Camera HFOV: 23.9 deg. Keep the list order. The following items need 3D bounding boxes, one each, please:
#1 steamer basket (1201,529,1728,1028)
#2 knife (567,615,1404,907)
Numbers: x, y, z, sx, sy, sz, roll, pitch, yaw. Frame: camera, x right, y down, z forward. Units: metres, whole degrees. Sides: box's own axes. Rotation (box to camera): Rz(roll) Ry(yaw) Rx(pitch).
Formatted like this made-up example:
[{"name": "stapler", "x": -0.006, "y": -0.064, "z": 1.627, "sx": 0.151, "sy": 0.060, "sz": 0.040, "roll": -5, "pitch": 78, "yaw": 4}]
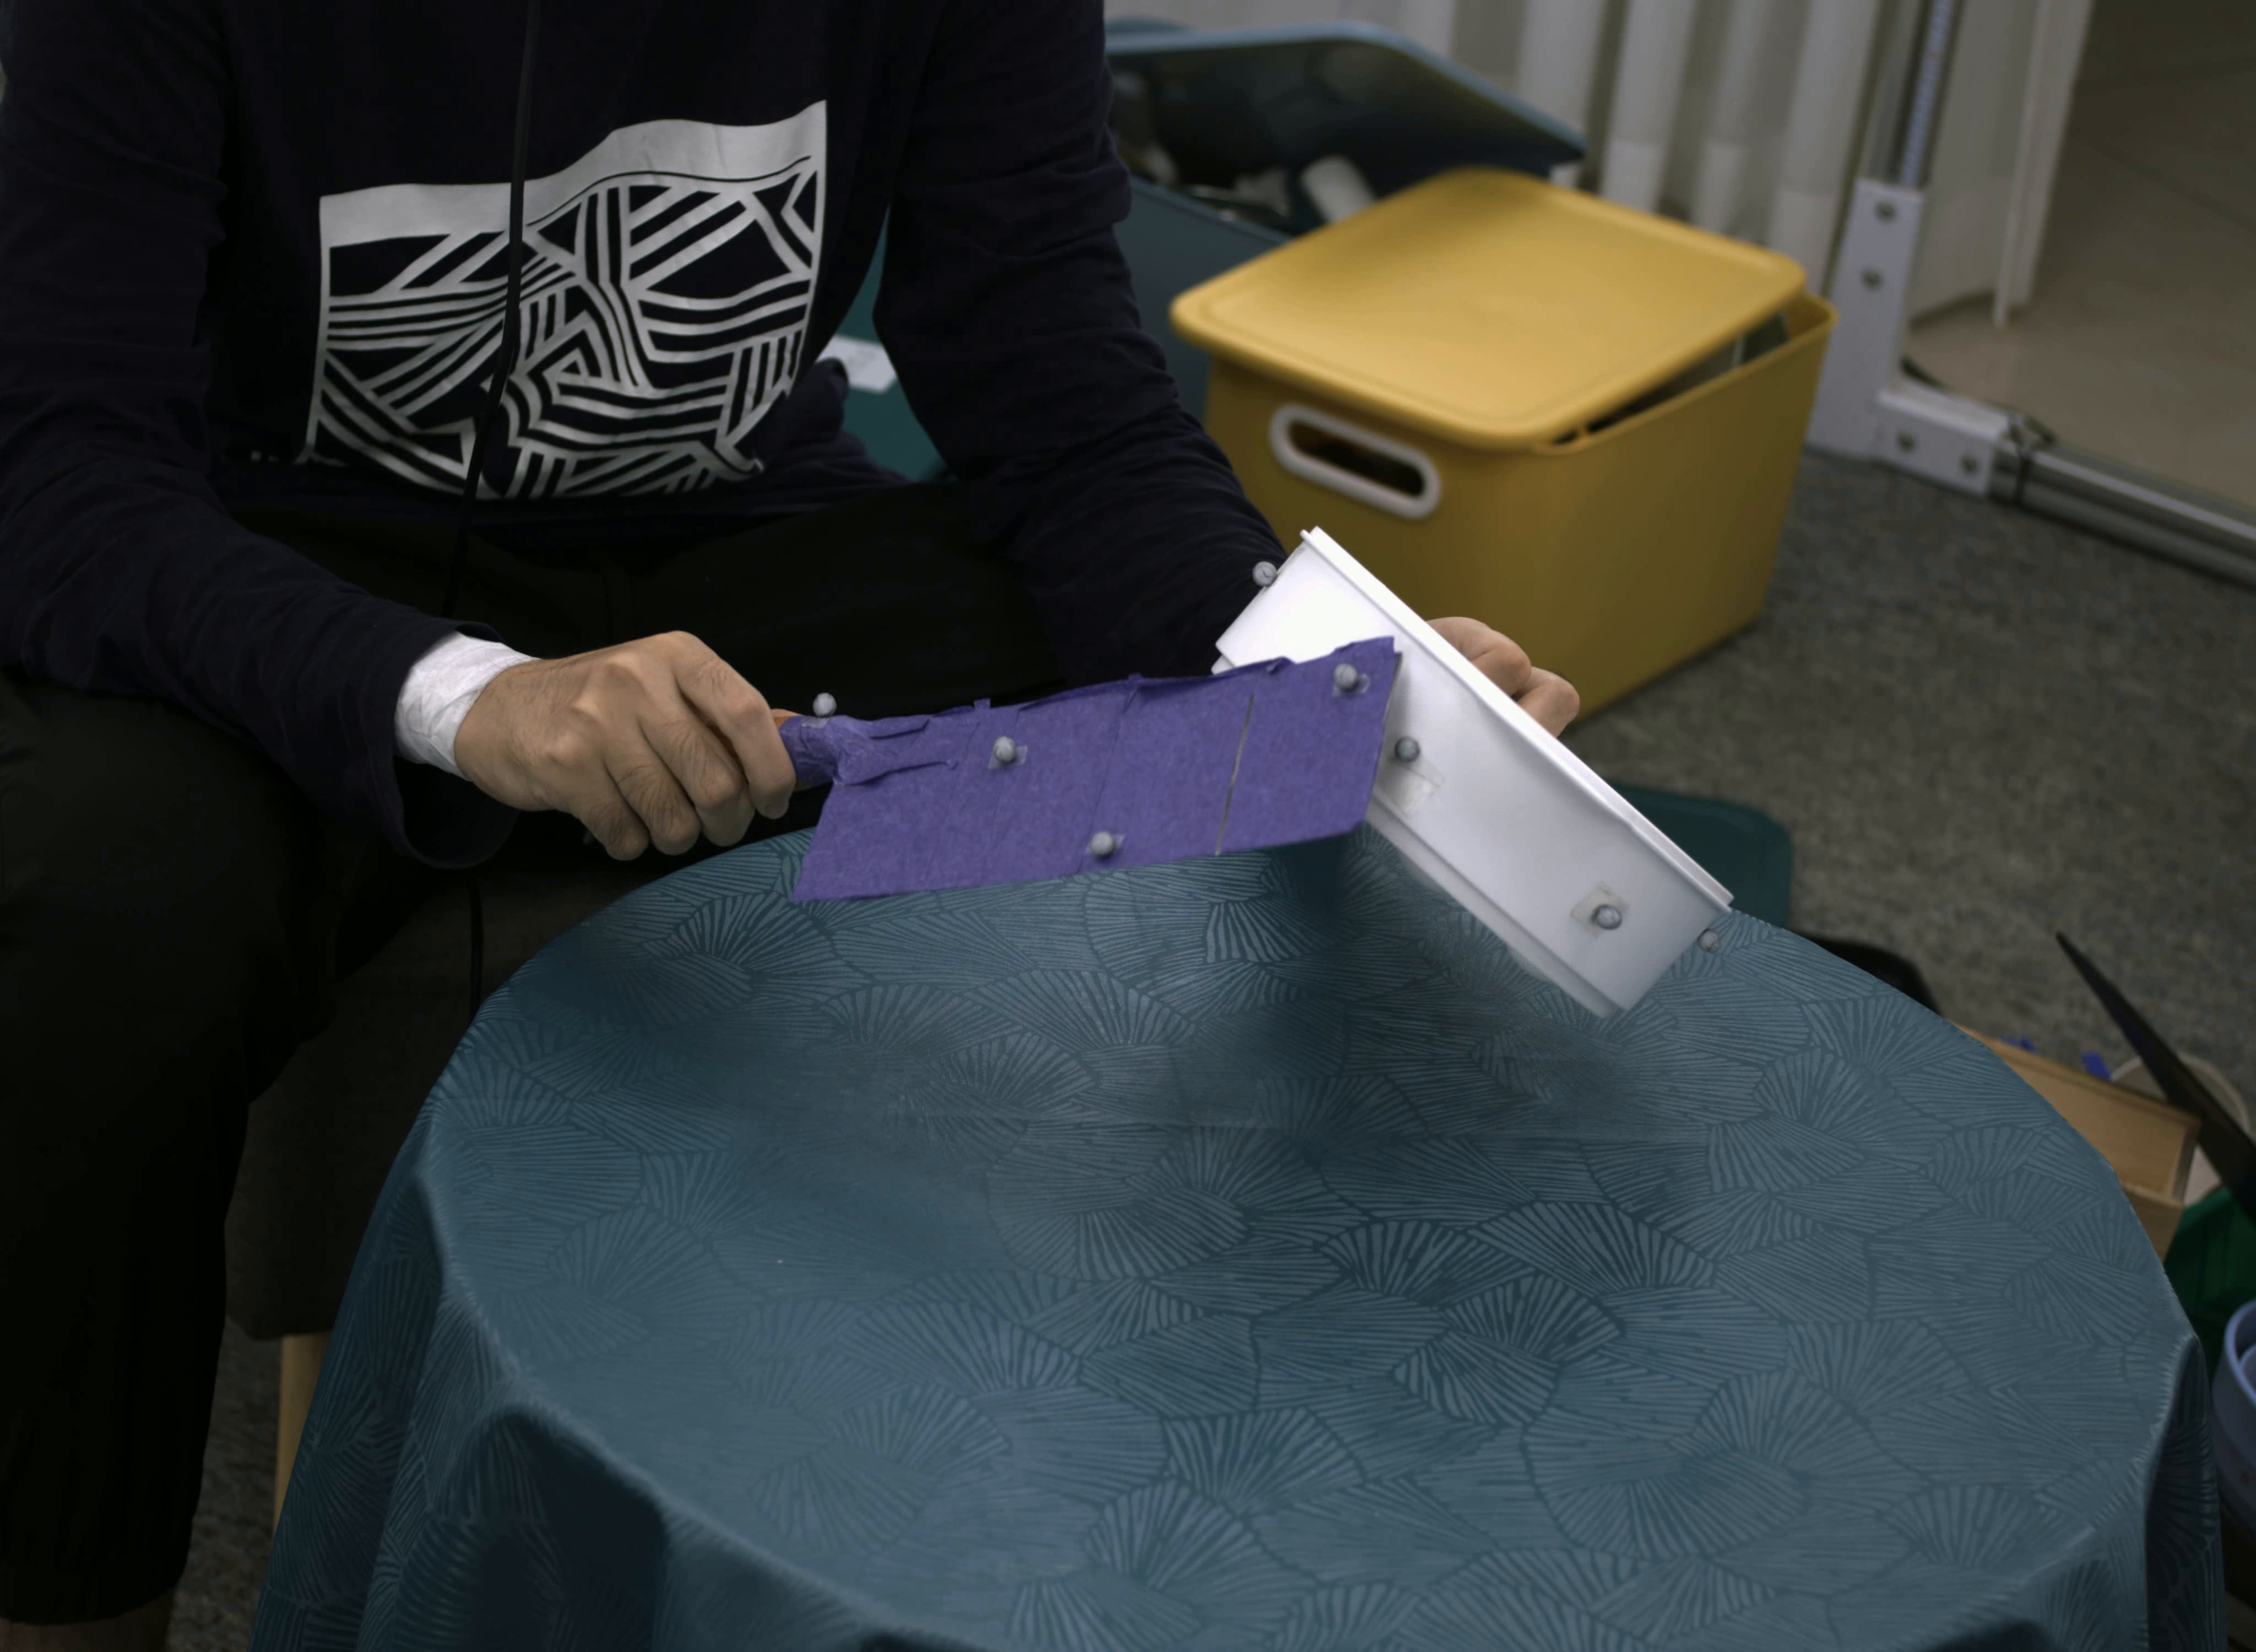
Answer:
[{"name": "steamer basket", "x": 0.115, "y": -0.013, "z": 1.859, "sx": 0.201, "sy": 0.069, "sz": 0.231, "roll": 42, "pitch": 1, "yaw": -6}, {"name": "knife", "x": -0.059, "y": -0.014, "z": 1.797, "sx": 0.316, "sy": 0.032, "sz": 0.104, "roll": -10, "pitch": 39, "yaw": 25}]
